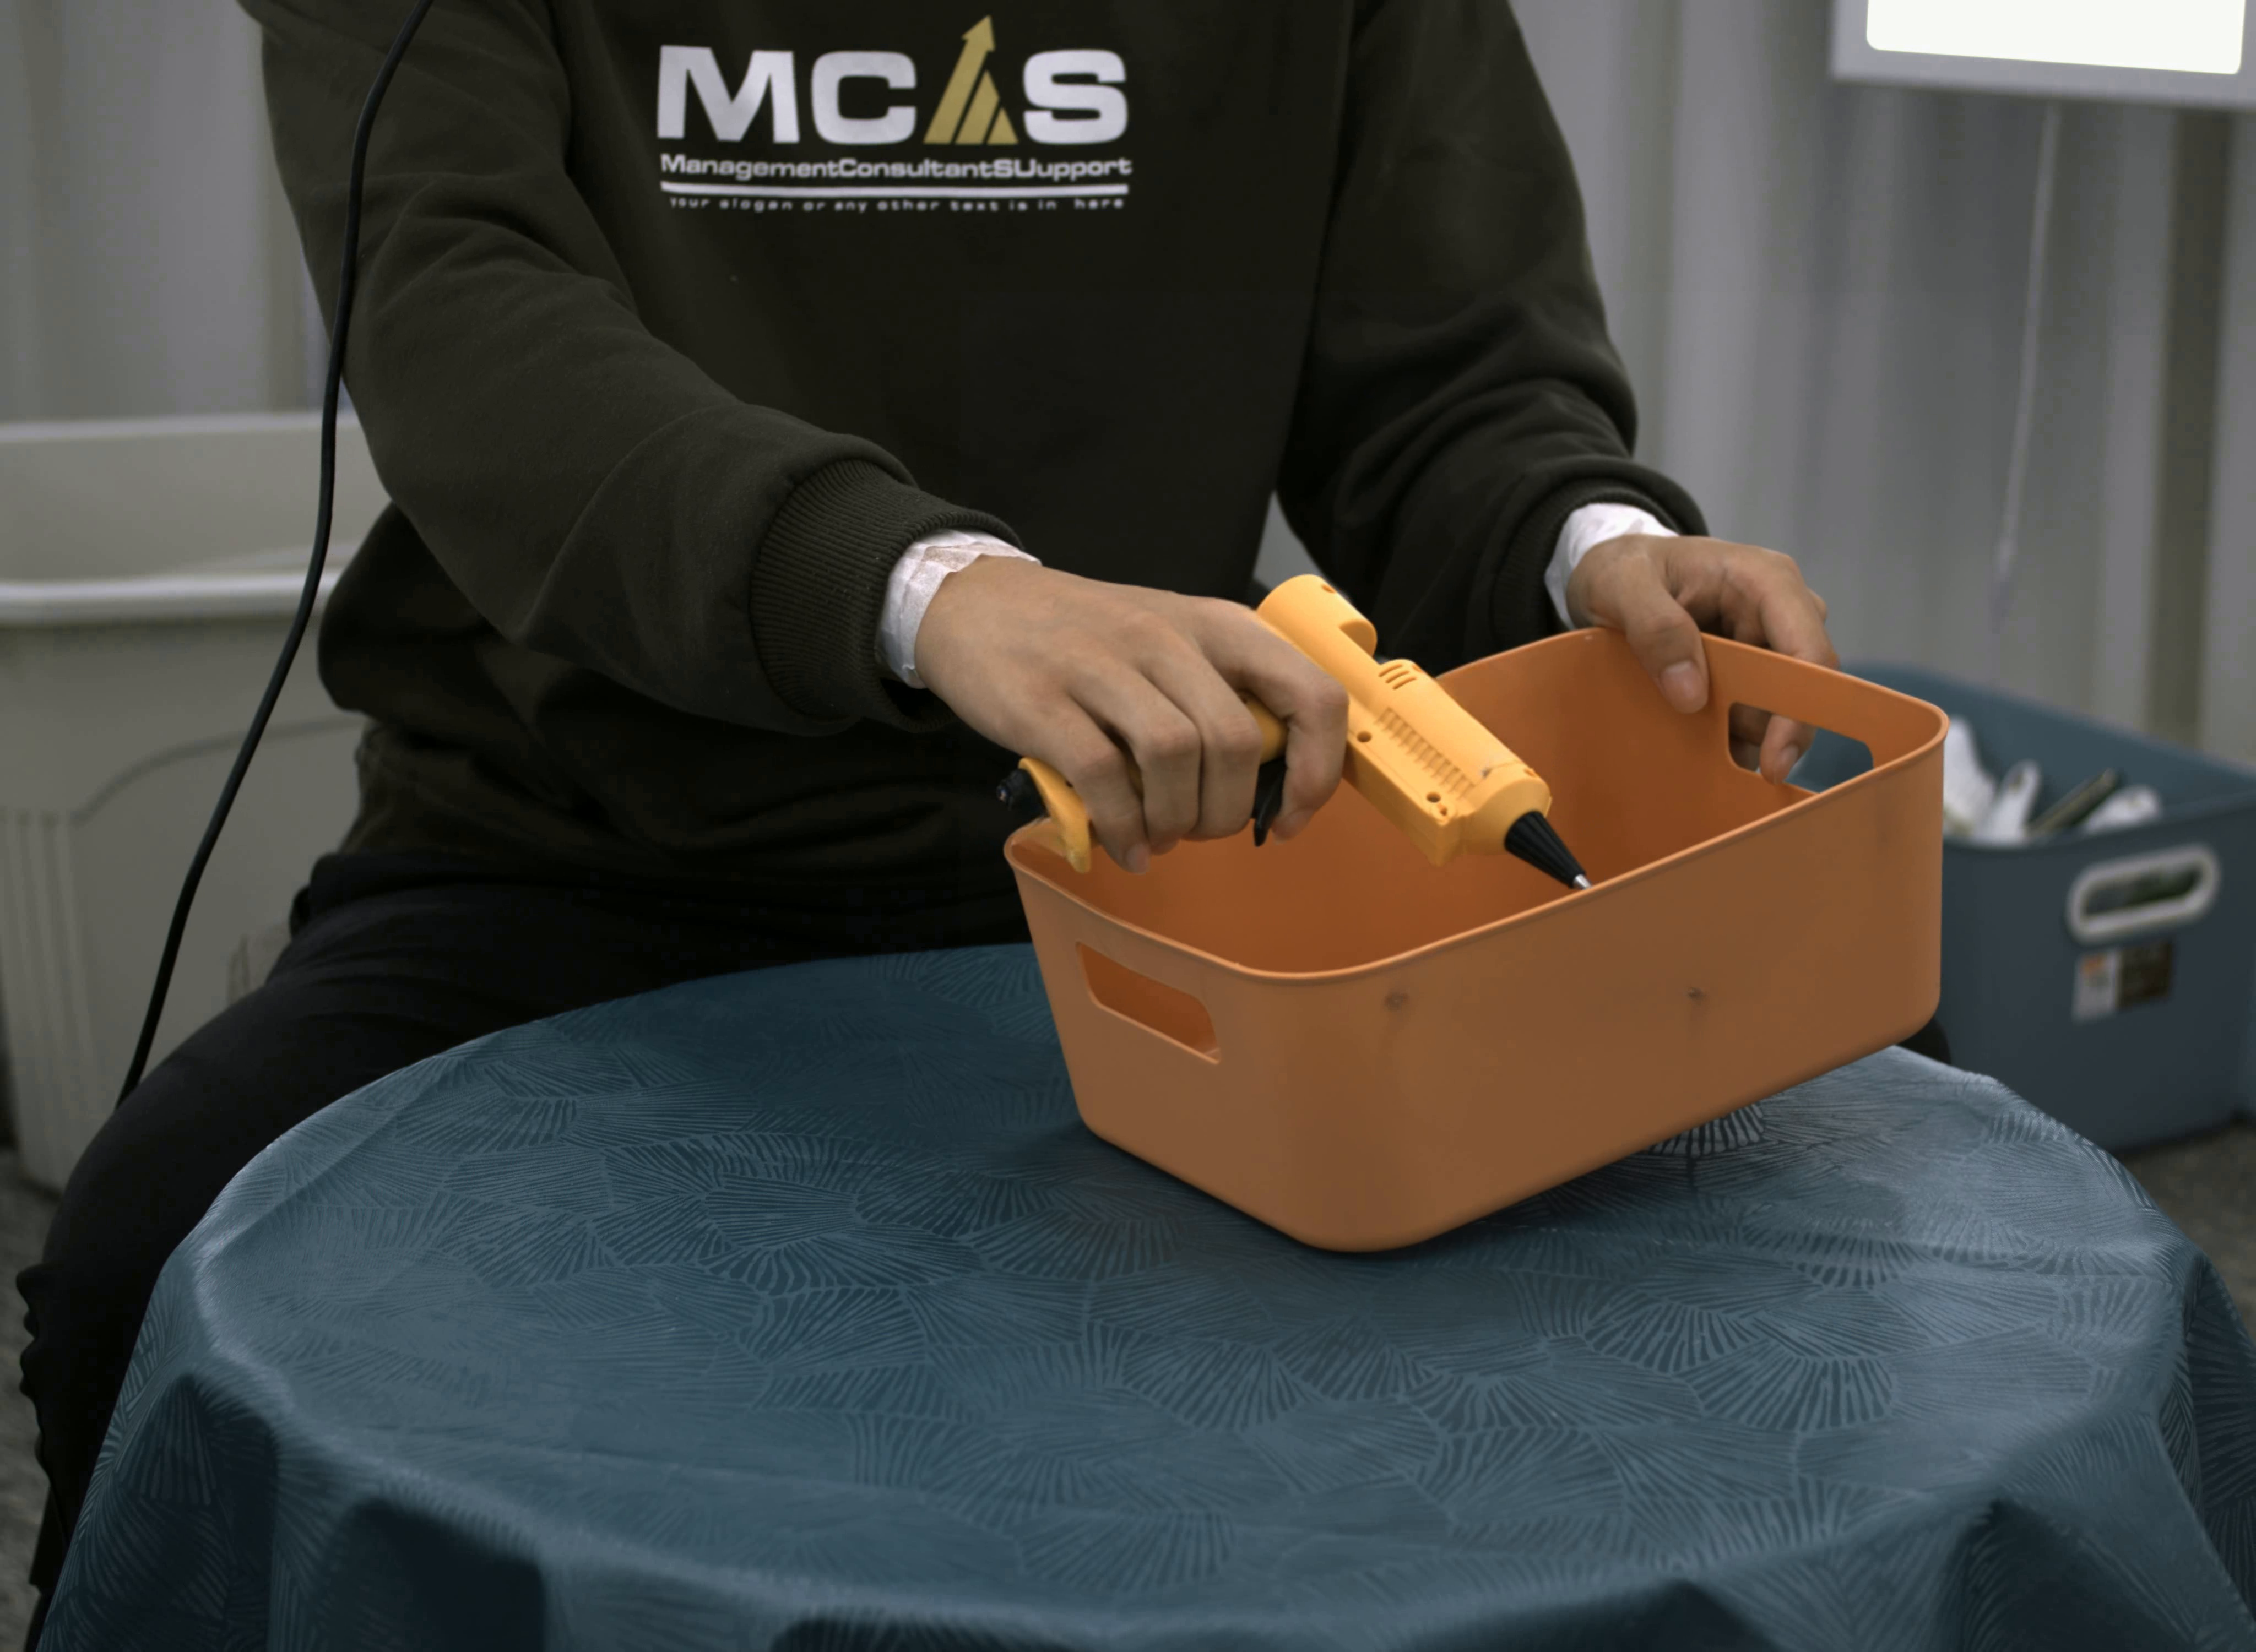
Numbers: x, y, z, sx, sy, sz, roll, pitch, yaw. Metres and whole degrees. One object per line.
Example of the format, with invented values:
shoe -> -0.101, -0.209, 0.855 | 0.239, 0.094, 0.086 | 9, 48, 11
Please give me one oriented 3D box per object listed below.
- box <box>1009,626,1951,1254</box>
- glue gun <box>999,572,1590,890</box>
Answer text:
box -> 0.116, 0.033, 1.667 | 0.274, 0.103, 0.197 | -21, 23, -29
glue gun -> 0.058, -0.004, 1.579 | 0.133, 0.031, 0.149 | -33, 55, -27
